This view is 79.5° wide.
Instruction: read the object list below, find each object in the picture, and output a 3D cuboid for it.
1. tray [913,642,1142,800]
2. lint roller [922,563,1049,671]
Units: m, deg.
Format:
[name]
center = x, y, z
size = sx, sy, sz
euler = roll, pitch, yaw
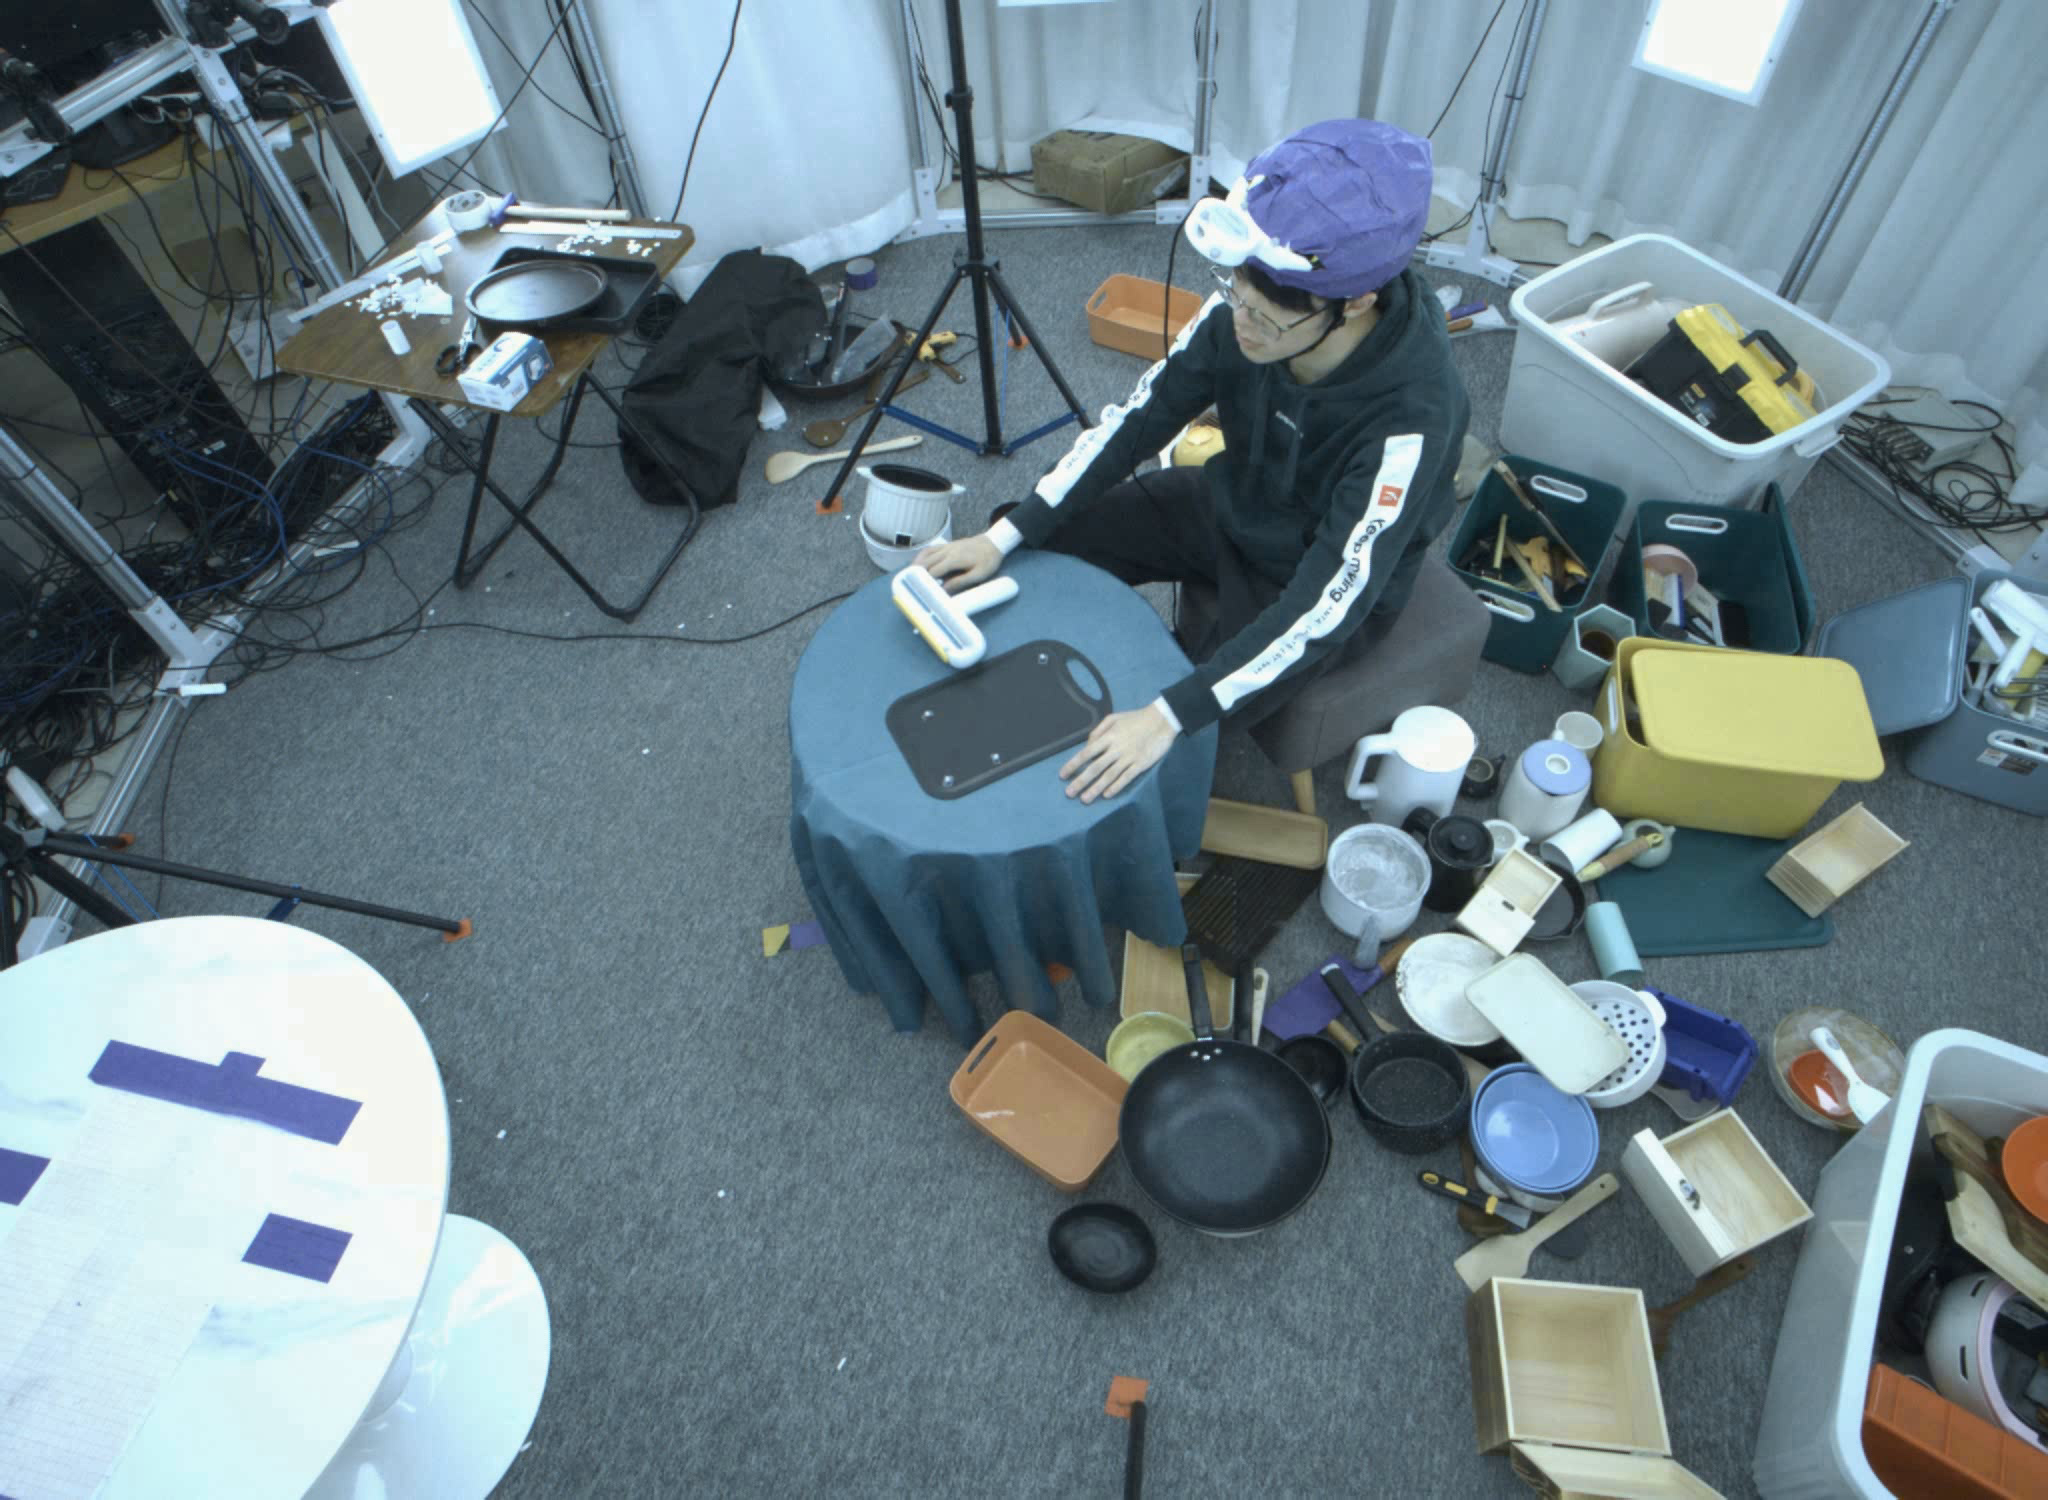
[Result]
[tray]
center = 0.010, -0.052, 1.816
size = 0.328, 0.010, 0.207
euler = -22, 57, -13
[lint roller]
center = -0.042, -0.218, 1.919
size = 0.195, 0.074, 0.190
euler = -20, 62, -28
